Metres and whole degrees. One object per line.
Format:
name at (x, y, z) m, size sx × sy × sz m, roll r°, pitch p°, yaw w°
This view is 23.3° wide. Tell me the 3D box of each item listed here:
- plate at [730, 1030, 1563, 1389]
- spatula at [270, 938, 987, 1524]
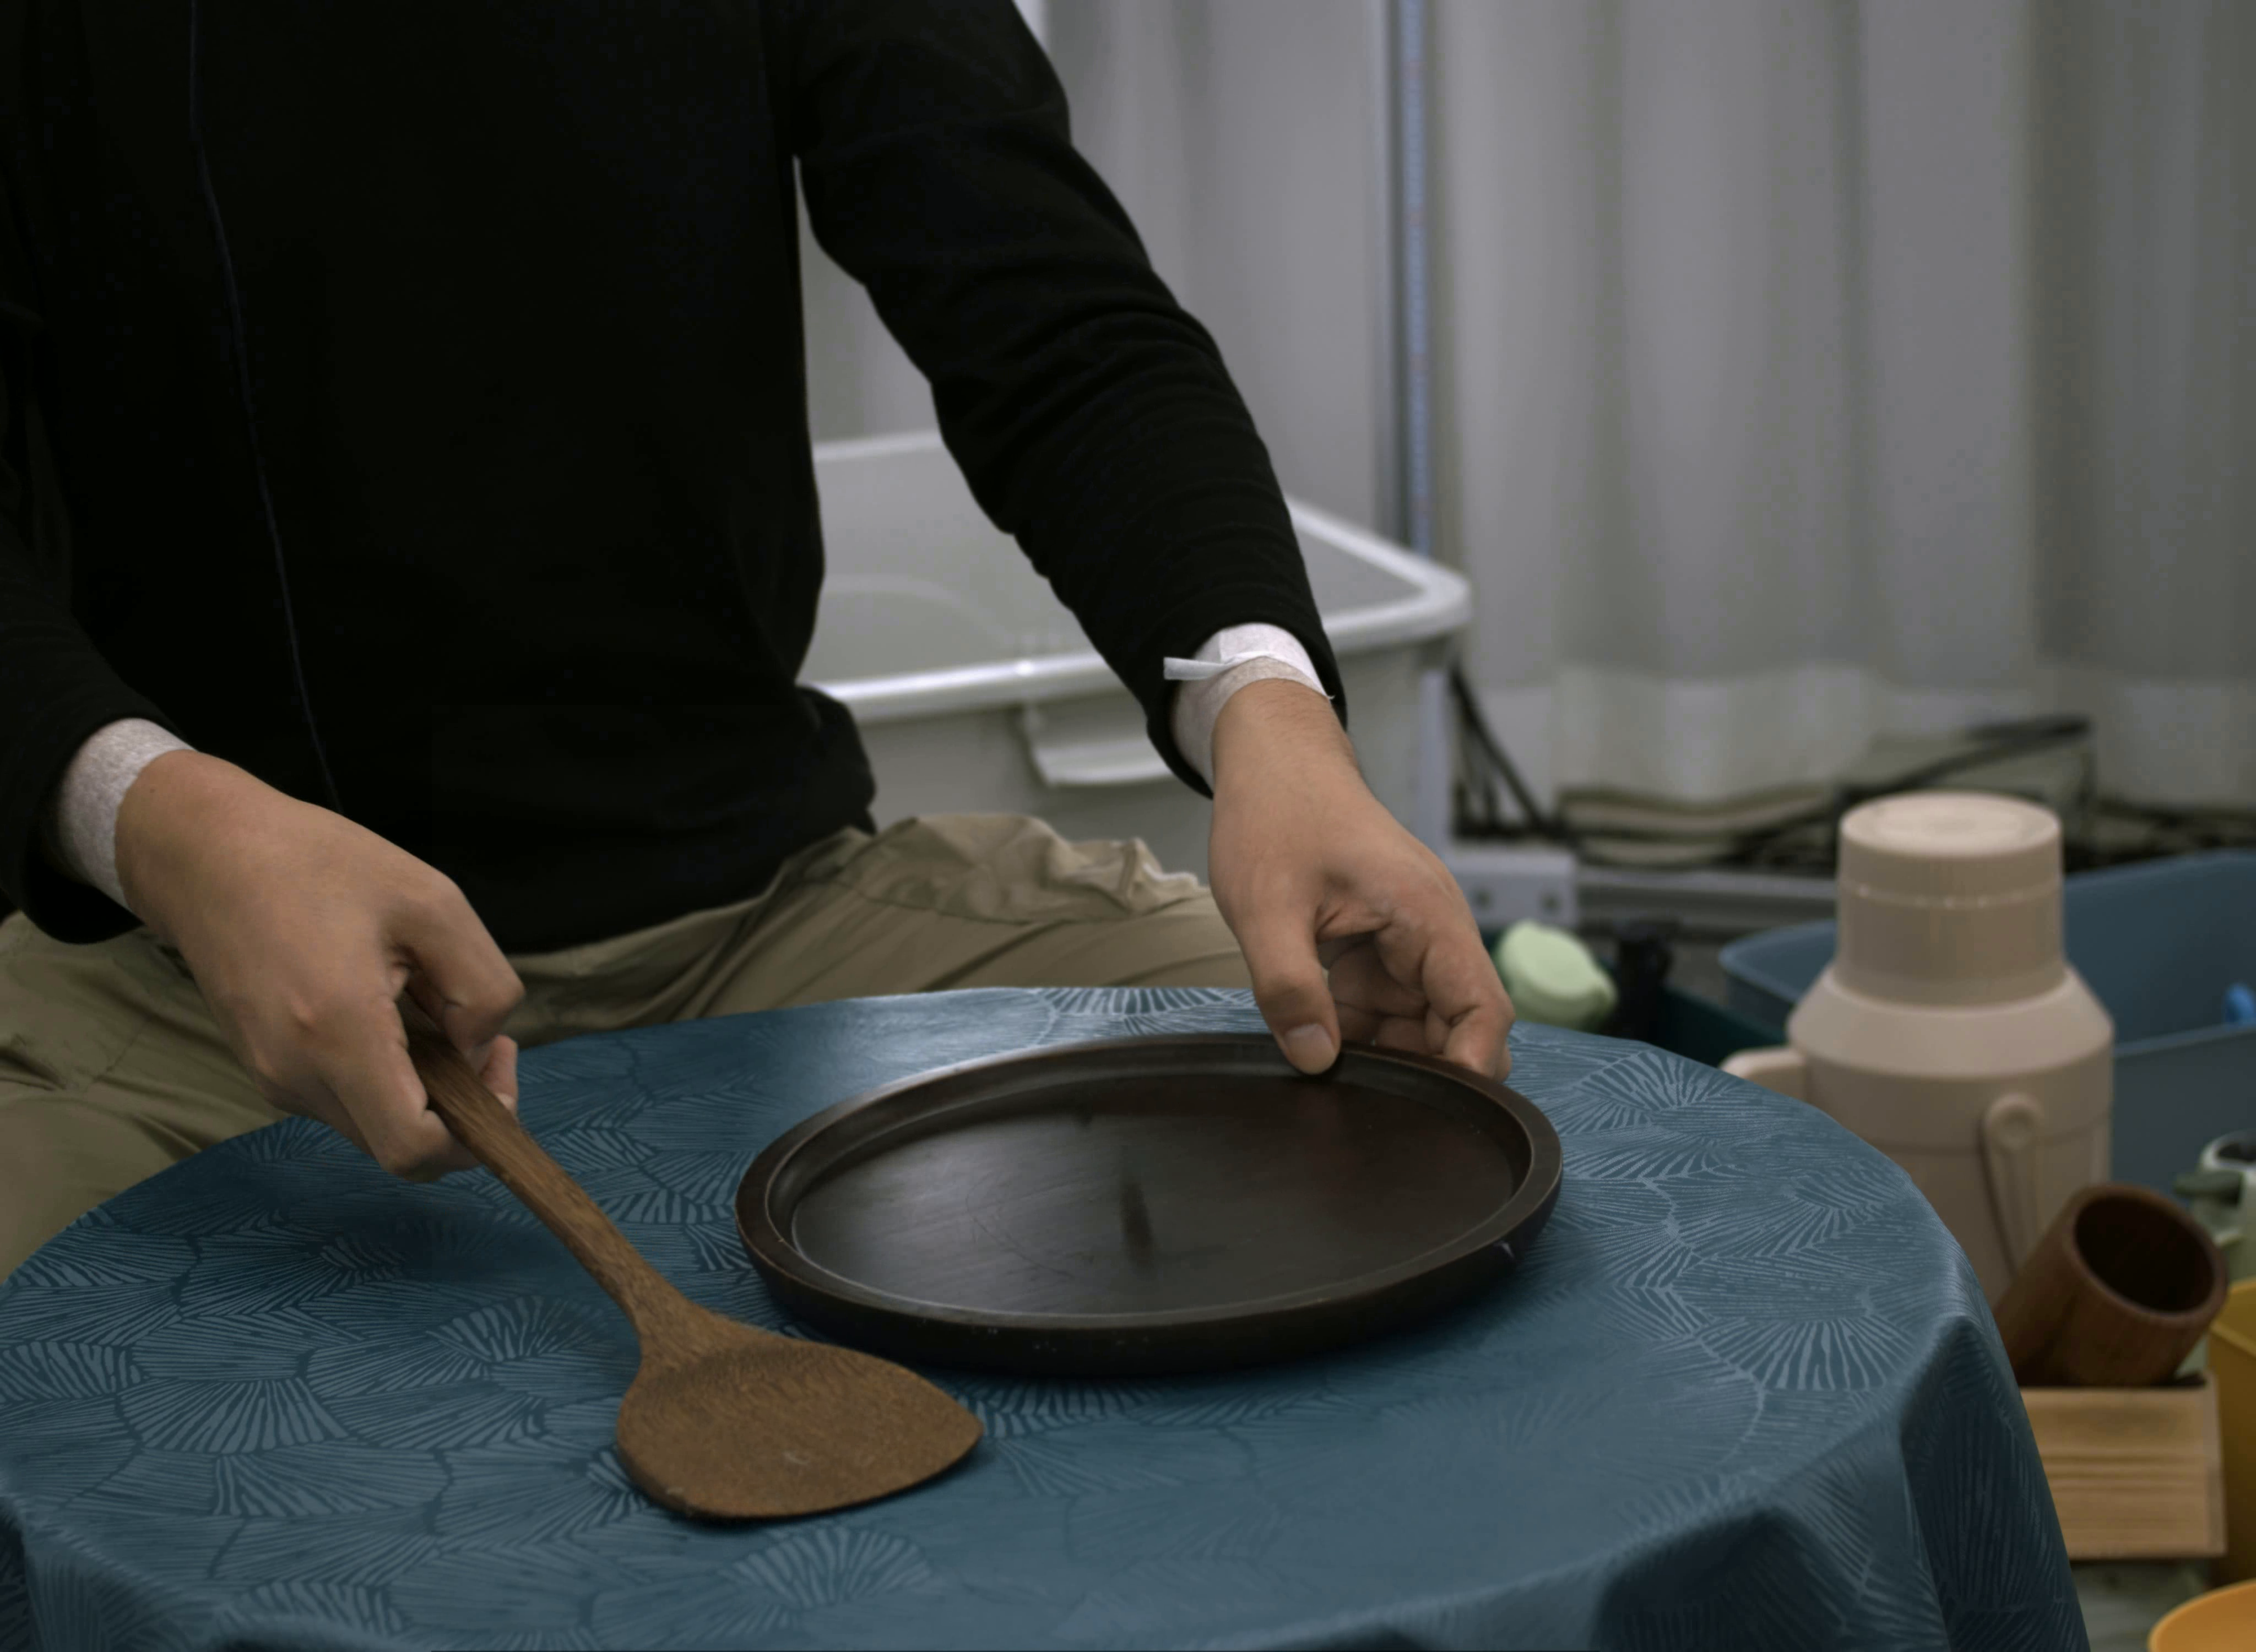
plate at (0.006, 0.115, 1.657) m, size 0.254 × 0.029 × 0.257 m, roll -3°, pitch 18°, yaw 1°
spatula at (-0.170, 0.110, 1.619) m, size 0.096 × 0.015 × 0.390 m, roll -12°, pitch 29°, yaw -29°
